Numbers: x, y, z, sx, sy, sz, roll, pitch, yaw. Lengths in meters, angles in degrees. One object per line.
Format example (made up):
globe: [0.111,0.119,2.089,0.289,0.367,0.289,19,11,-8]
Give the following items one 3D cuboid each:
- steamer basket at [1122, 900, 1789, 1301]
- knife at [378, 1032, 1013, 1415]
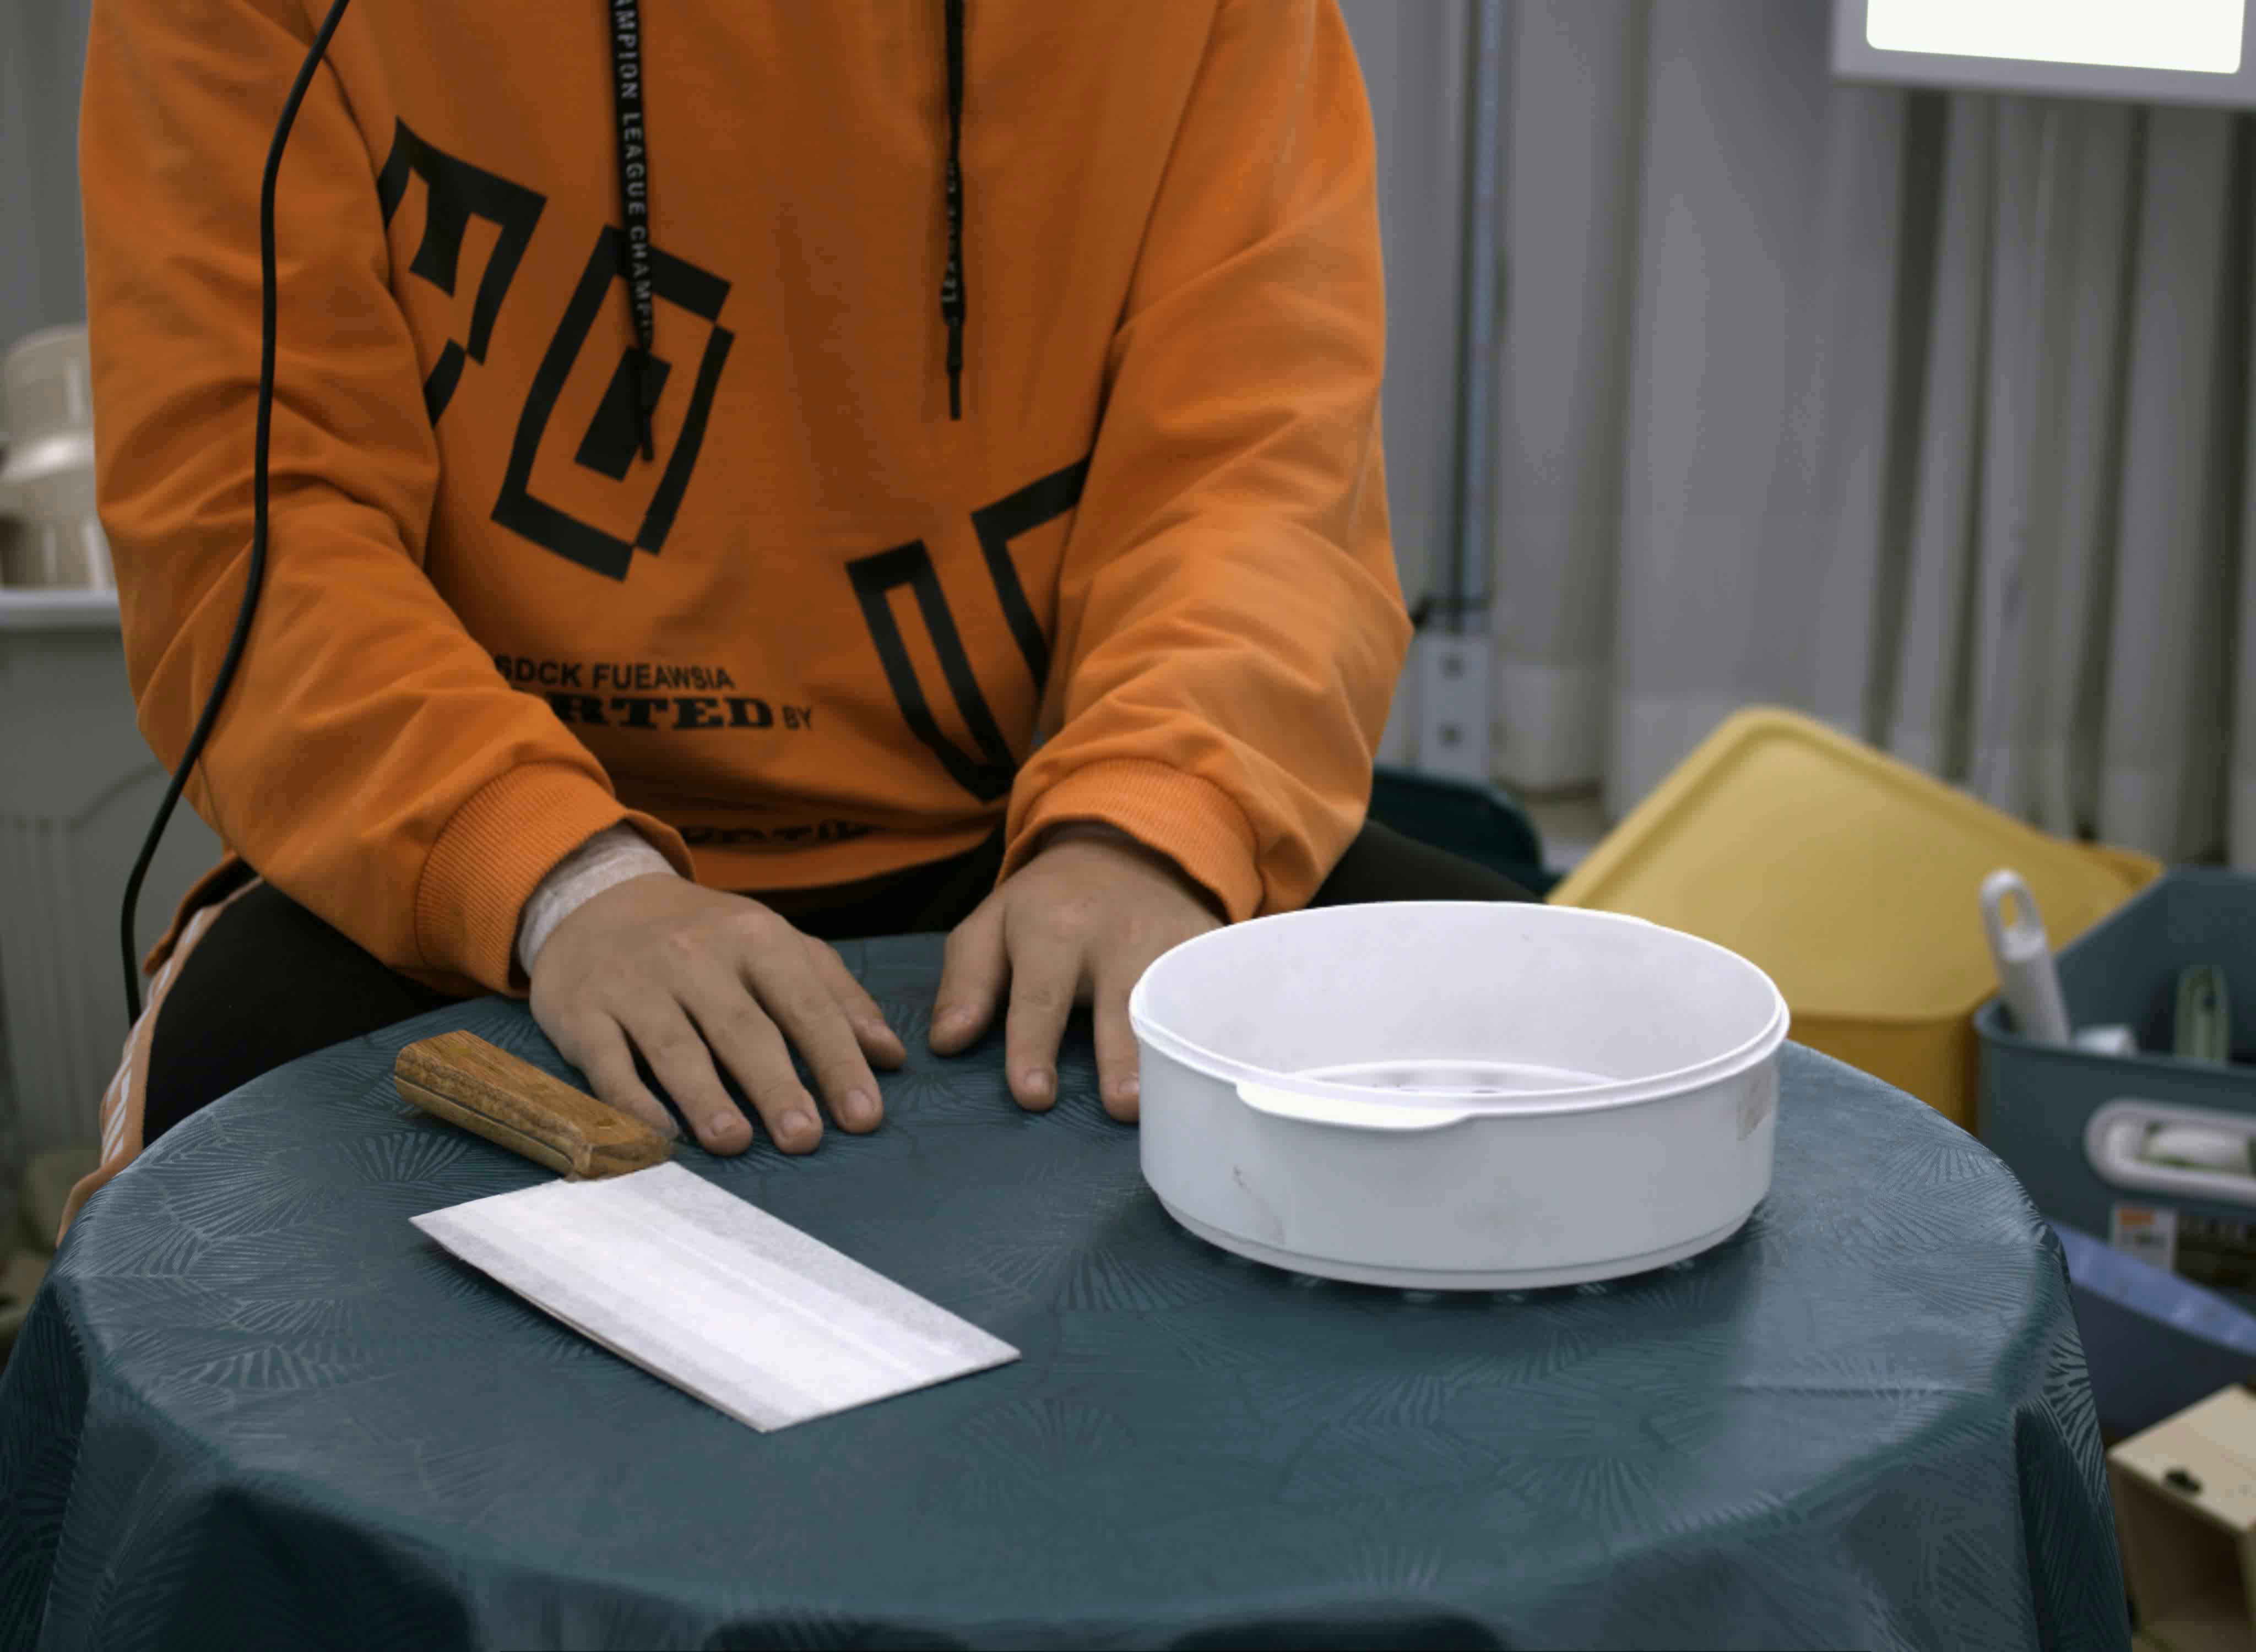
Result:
steamer basket: [0.099,0.083,1.602,0.200,0.070,0.231,6,18,21]
knife: [-0.156,0.118,1.568,0.093,0.021,0.301,-13,23,-36]
